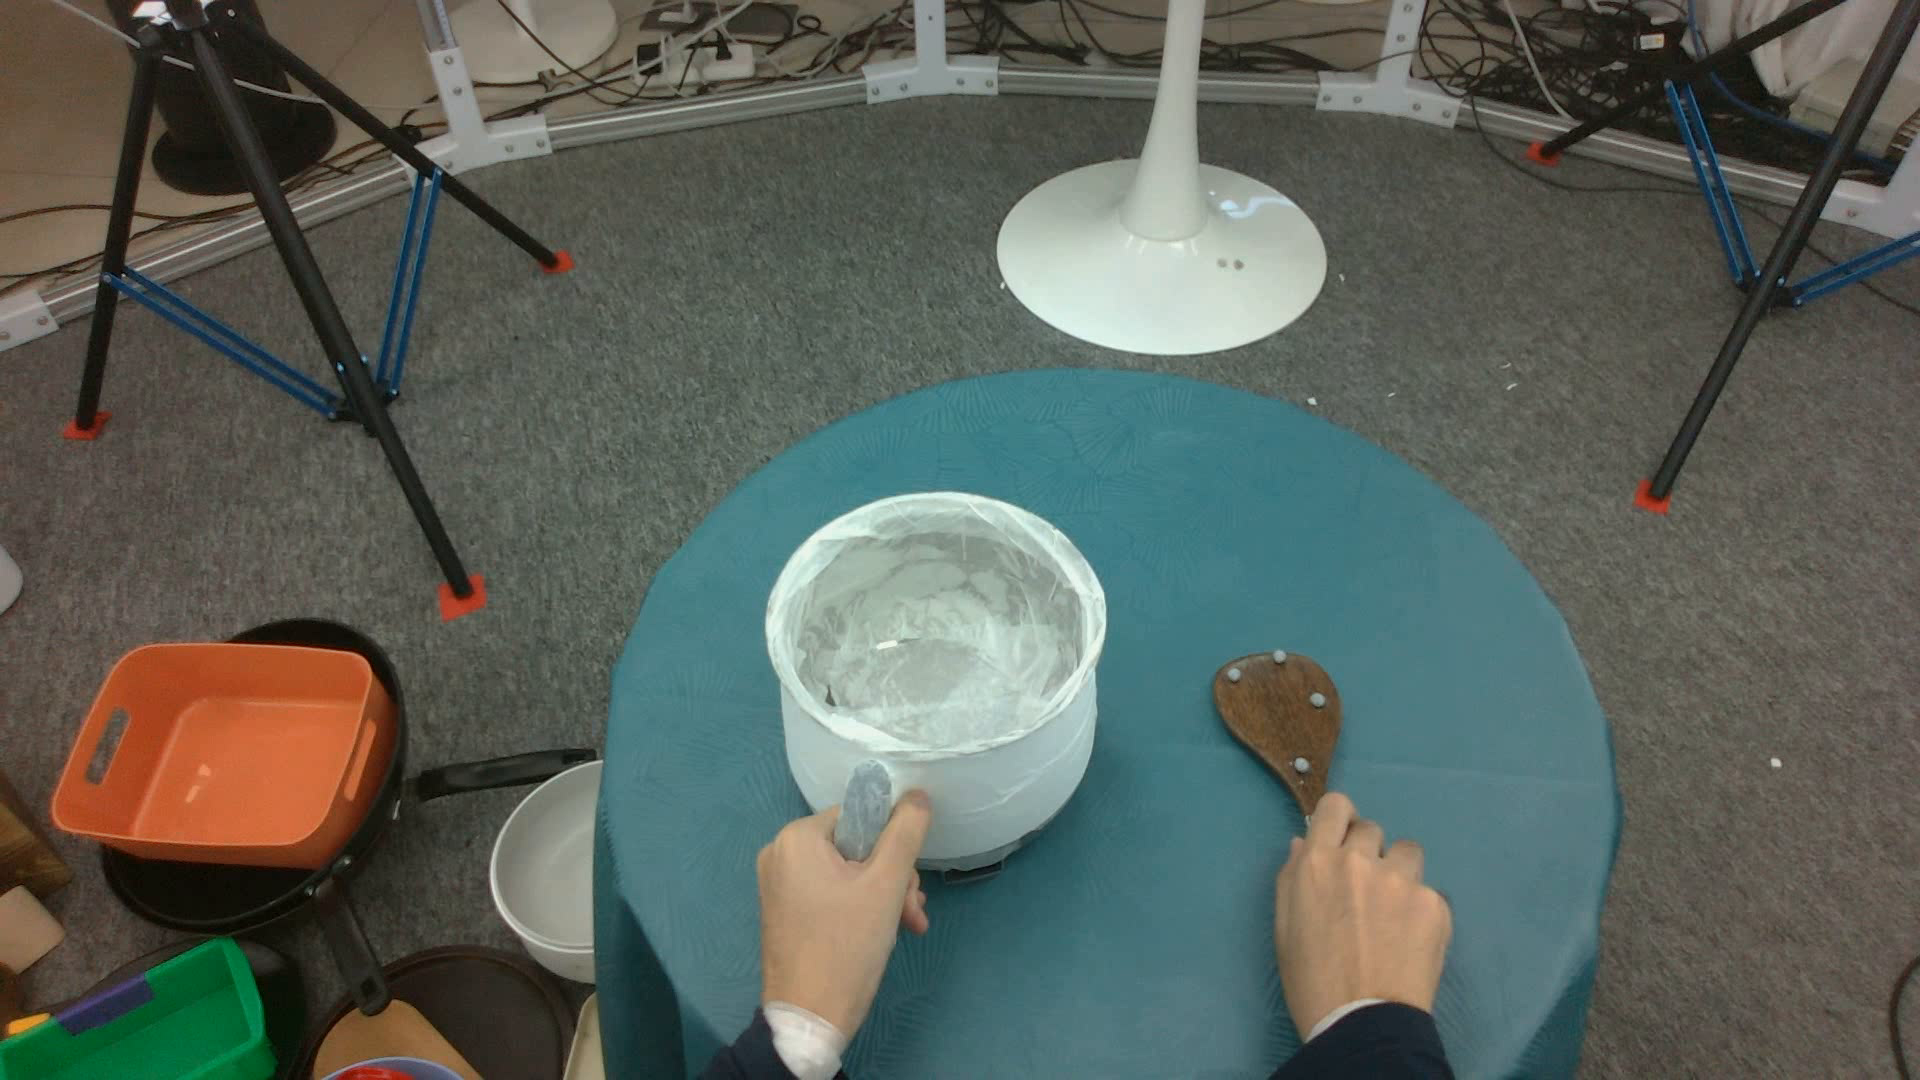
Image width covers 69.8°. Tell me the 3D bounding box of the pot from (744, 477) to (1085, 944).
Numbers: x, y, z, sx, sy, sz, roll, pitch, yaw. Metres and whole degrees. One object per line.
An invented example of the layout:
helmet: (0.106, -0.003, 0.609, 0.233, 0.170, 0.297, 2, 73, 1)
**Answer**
pot: (-0.029, 0.092, 0.740, 0.178, 0.136, 0.235, 10, 47, 12)

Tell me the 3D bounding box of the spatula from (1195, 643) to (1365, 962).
spatula: (0.186, 0.140, 0.781, 0.072, 0.009, 0.216, -8, 46, 0)
